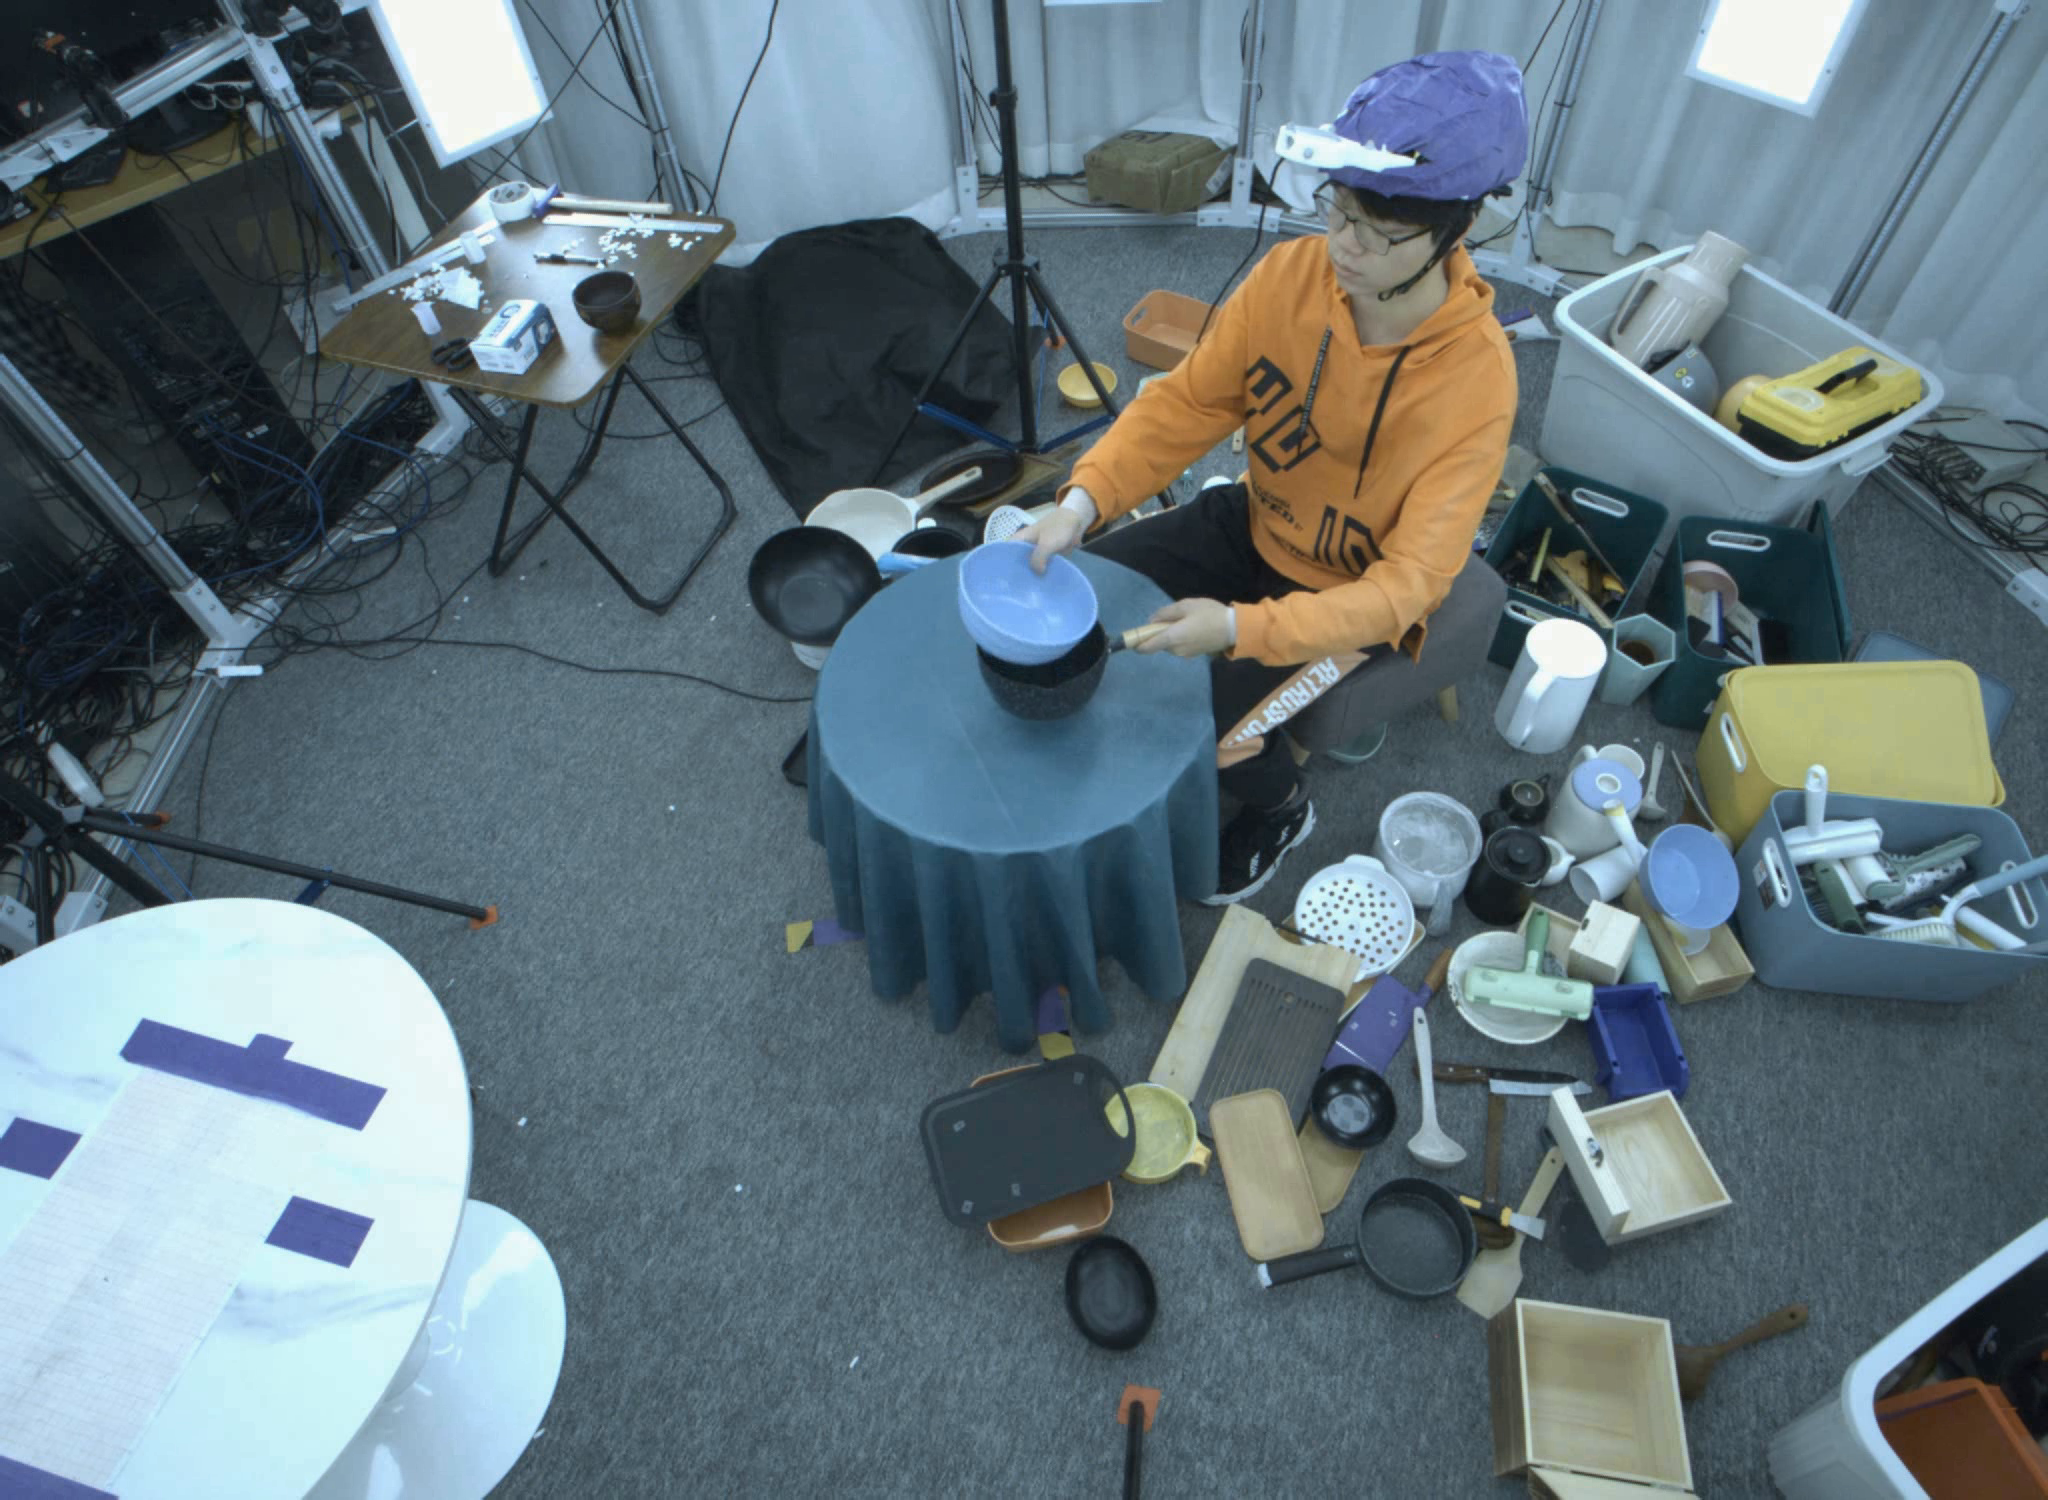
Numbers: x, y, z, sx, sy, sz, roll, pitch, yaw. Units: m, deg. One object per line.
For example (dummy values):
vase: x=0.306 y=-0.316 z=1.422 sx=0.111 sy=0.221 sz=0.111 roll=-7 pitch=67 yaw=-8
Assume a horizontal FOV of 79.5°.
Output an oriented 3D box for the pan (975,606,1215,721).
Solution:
pan: x=0.103 y=-0.143 z=1.764 sx=0.344 sy=0.109 sz=0.204 roll=-9 pitch=46 yaw=-5

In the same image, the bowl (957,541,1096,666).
bowl: x=-0.008 y=-0.186 z=1.692 sx=0.199 sy=0.095 sz=0.194 roll=13 pitch=50 yaw=-15
